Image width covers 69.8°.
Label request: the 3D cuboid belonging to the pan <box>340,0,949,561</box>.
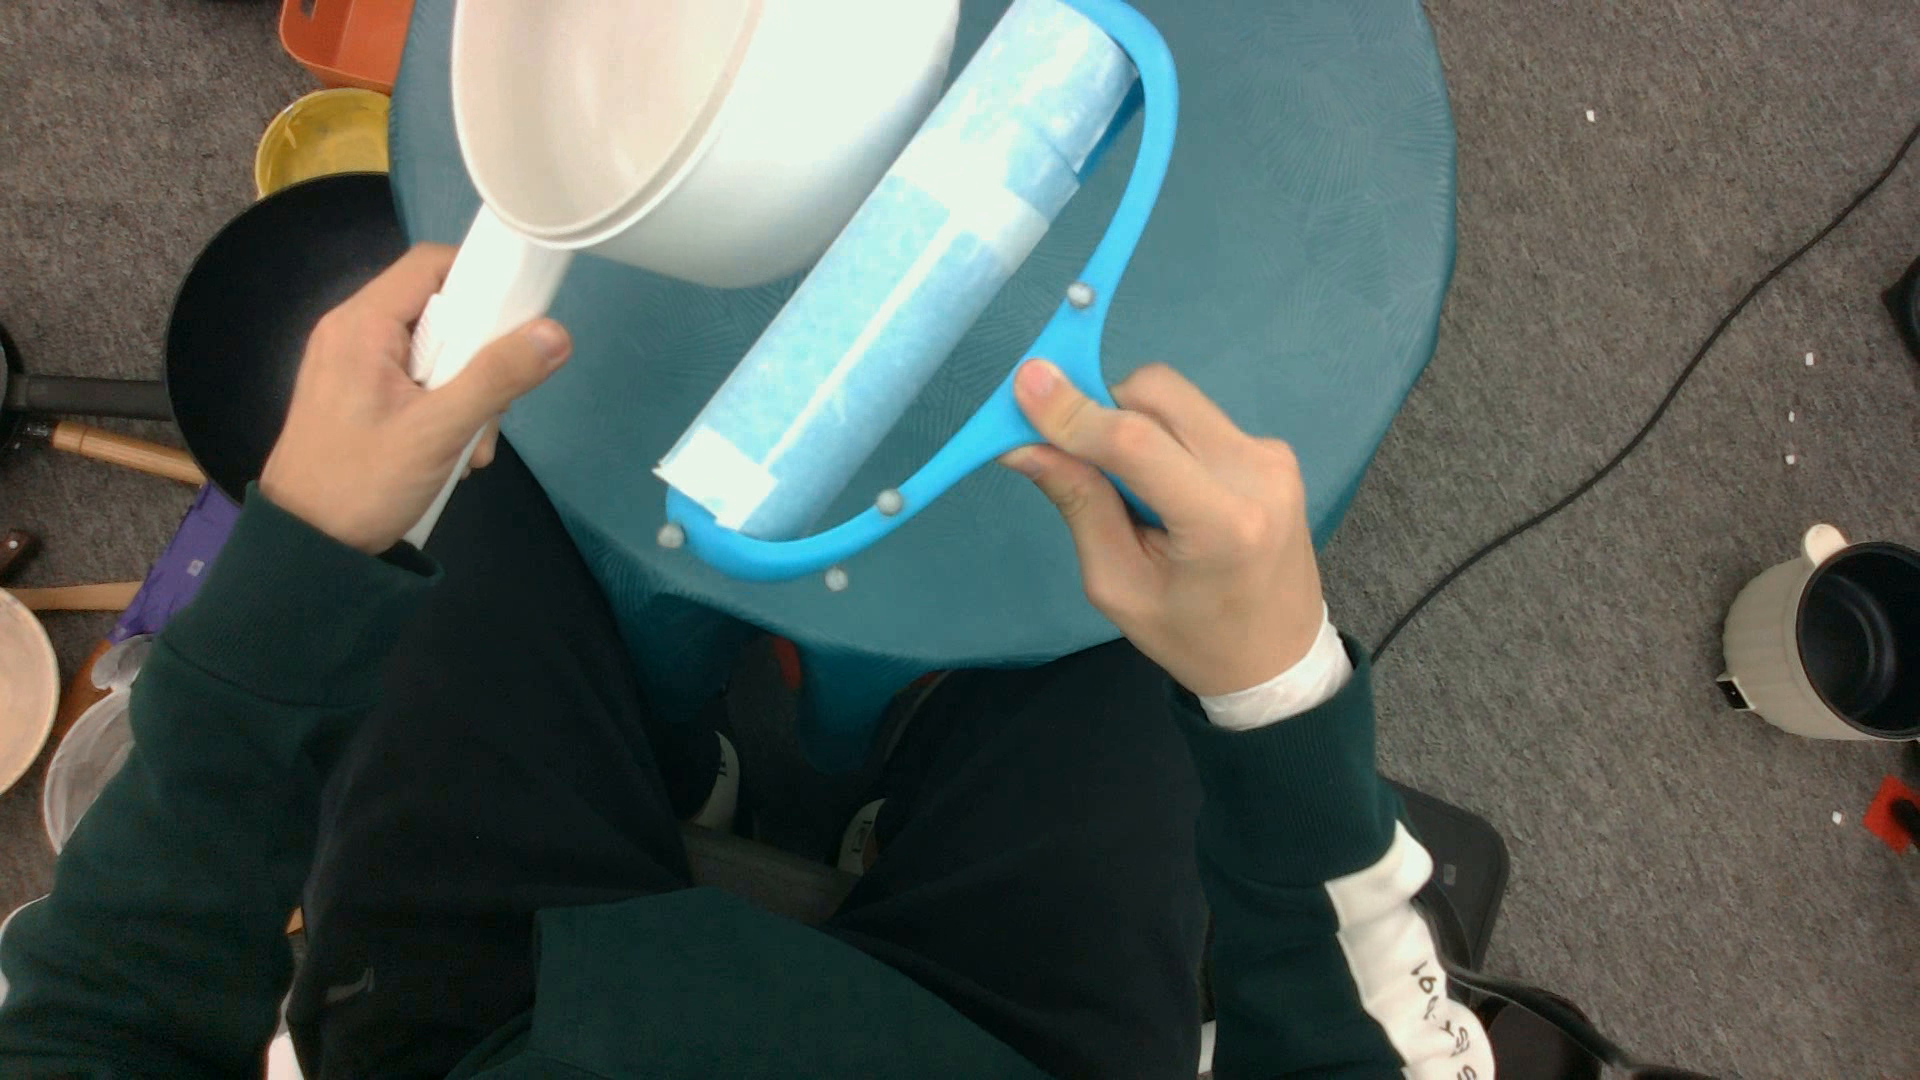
[{"bbox_3d":[-0.134,-0.137,0.543,0.201,0.102,0.353,47,116,33],"label":"pan"}]

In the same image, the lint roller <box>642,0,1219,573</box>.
[{"bbox_3d":[0.022,-0.056,0.463,0.180,0.068,0.229,34,90,-7],"label":"lint roller"}]
